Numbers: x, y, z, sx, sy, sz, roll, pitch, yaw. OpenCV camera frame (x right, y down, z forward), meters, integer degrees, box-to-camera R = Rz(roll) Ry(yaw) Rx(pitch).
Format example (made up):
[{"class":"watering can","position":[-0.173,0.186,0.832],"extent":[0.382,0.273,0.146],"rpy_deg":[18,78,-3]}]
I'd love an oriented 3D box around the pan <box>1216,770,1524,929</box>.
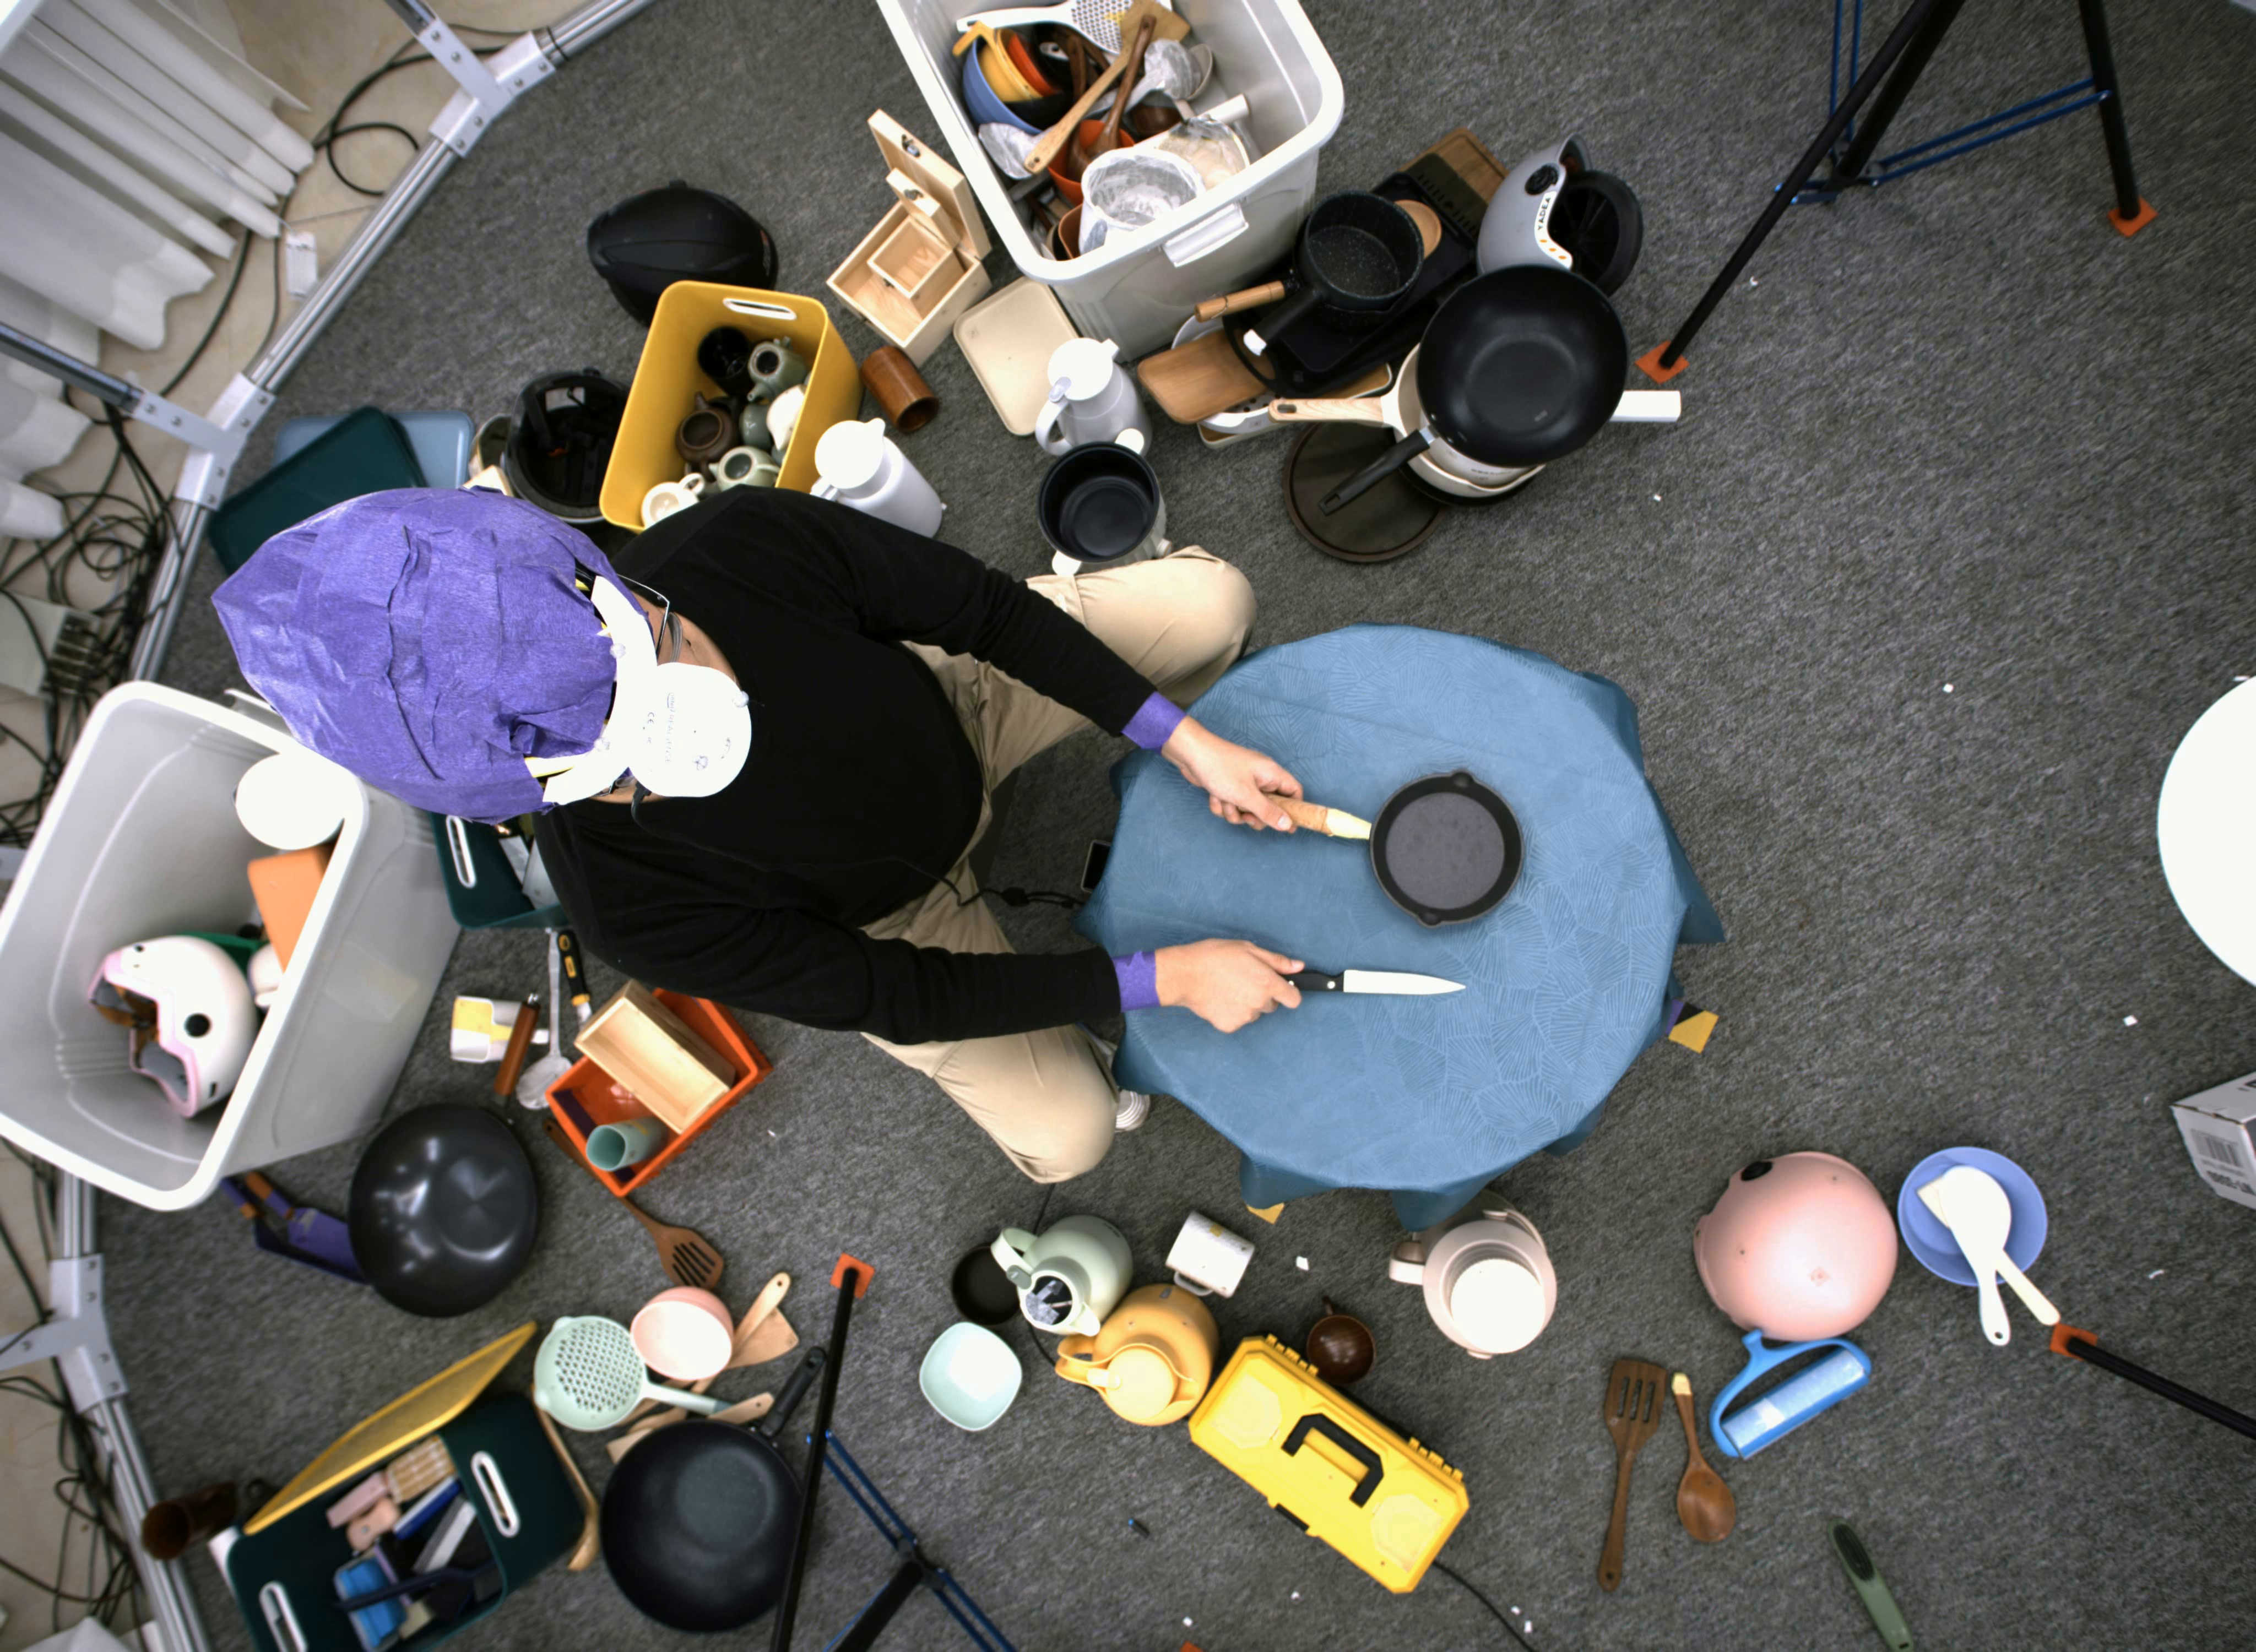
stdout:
[{"class":"pan","position":[0.250,0.001,1.442],"extent":[0.324,0.049,0.169],"rpy_deg":[16,90,11]}]

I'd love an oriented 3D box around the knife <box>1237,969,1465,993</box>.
[{"class":"knife","position":[0.234,0.162,1.449],"extent":[0.239,0.016,0.024],"rpy_deg":[1,97,4]}]
